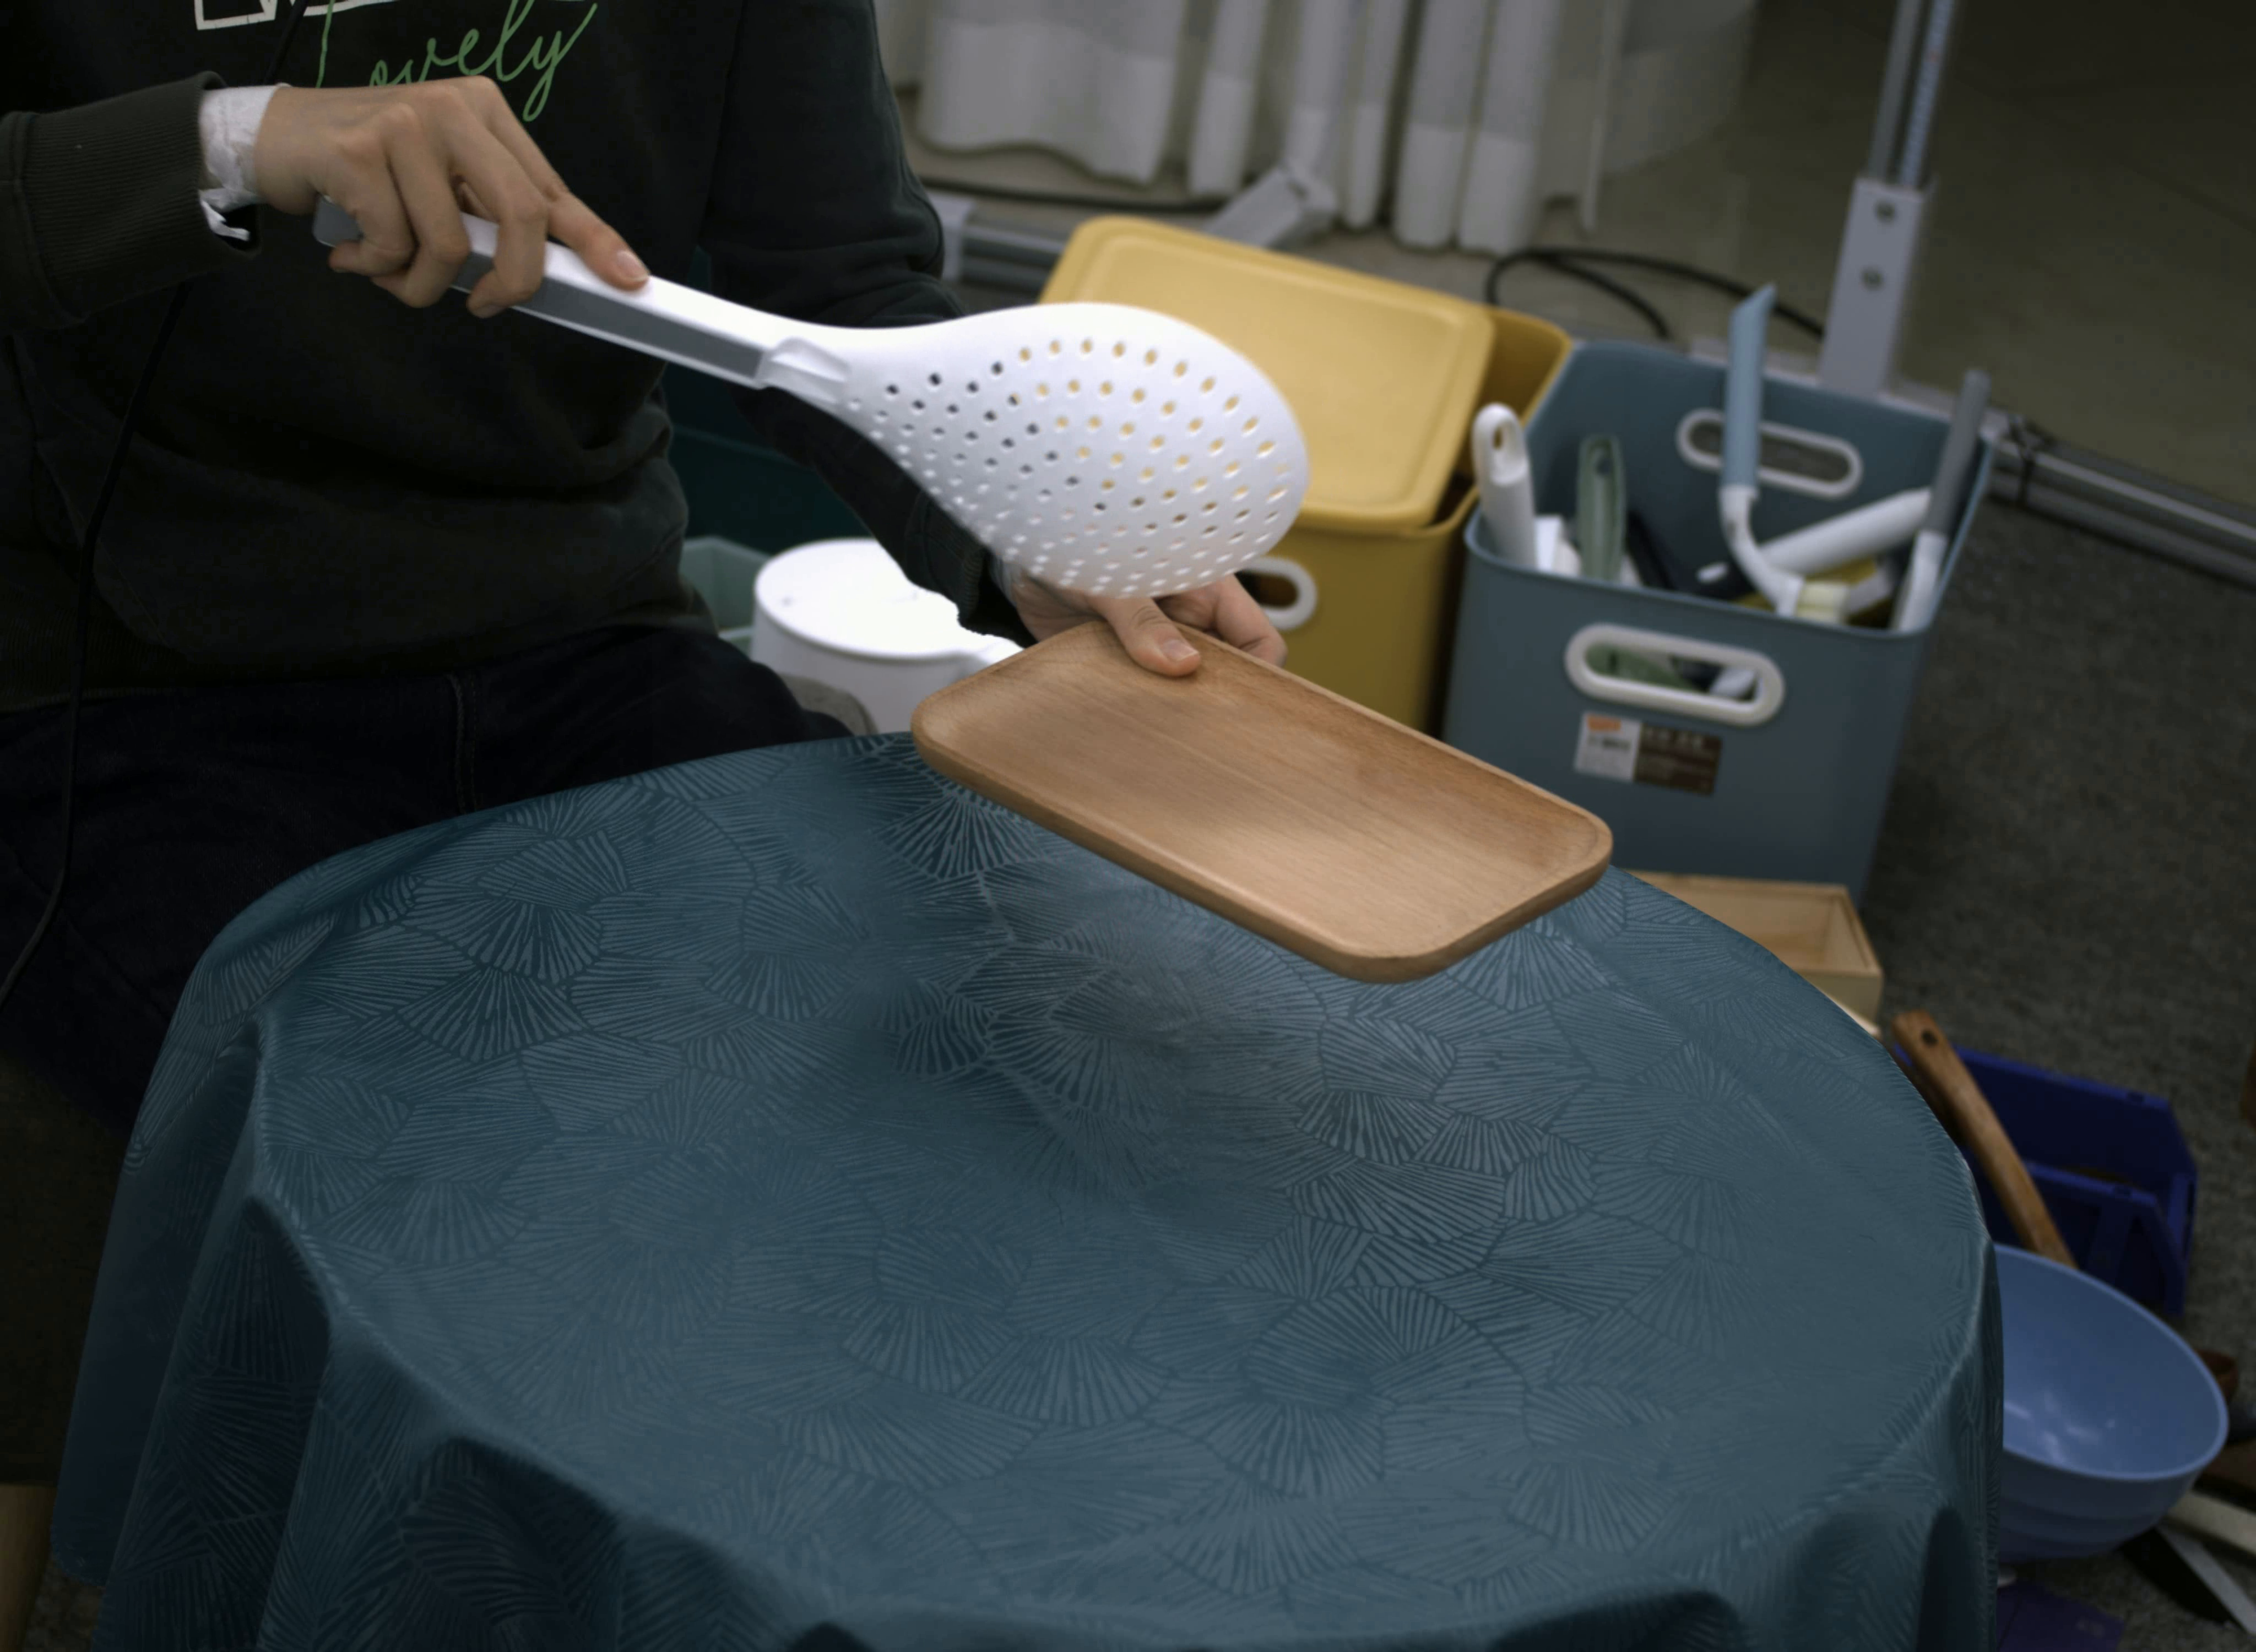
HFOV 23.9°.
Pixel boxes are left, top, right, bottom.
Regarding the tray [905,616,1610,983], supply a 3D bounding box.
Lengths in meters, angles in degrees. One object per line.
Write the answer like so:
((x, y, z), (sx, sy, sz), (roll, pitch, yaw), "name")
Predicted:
((0.042, -0.011, 1.835), (0.130, 0.023, 0.252), (-24, 35, -37), "tray")

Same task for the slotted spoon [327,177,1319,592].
((-0.105, -0.159, 1.822), (0.349, 0.135, 0.046), (20, 46, 0), "slotted spoon")
